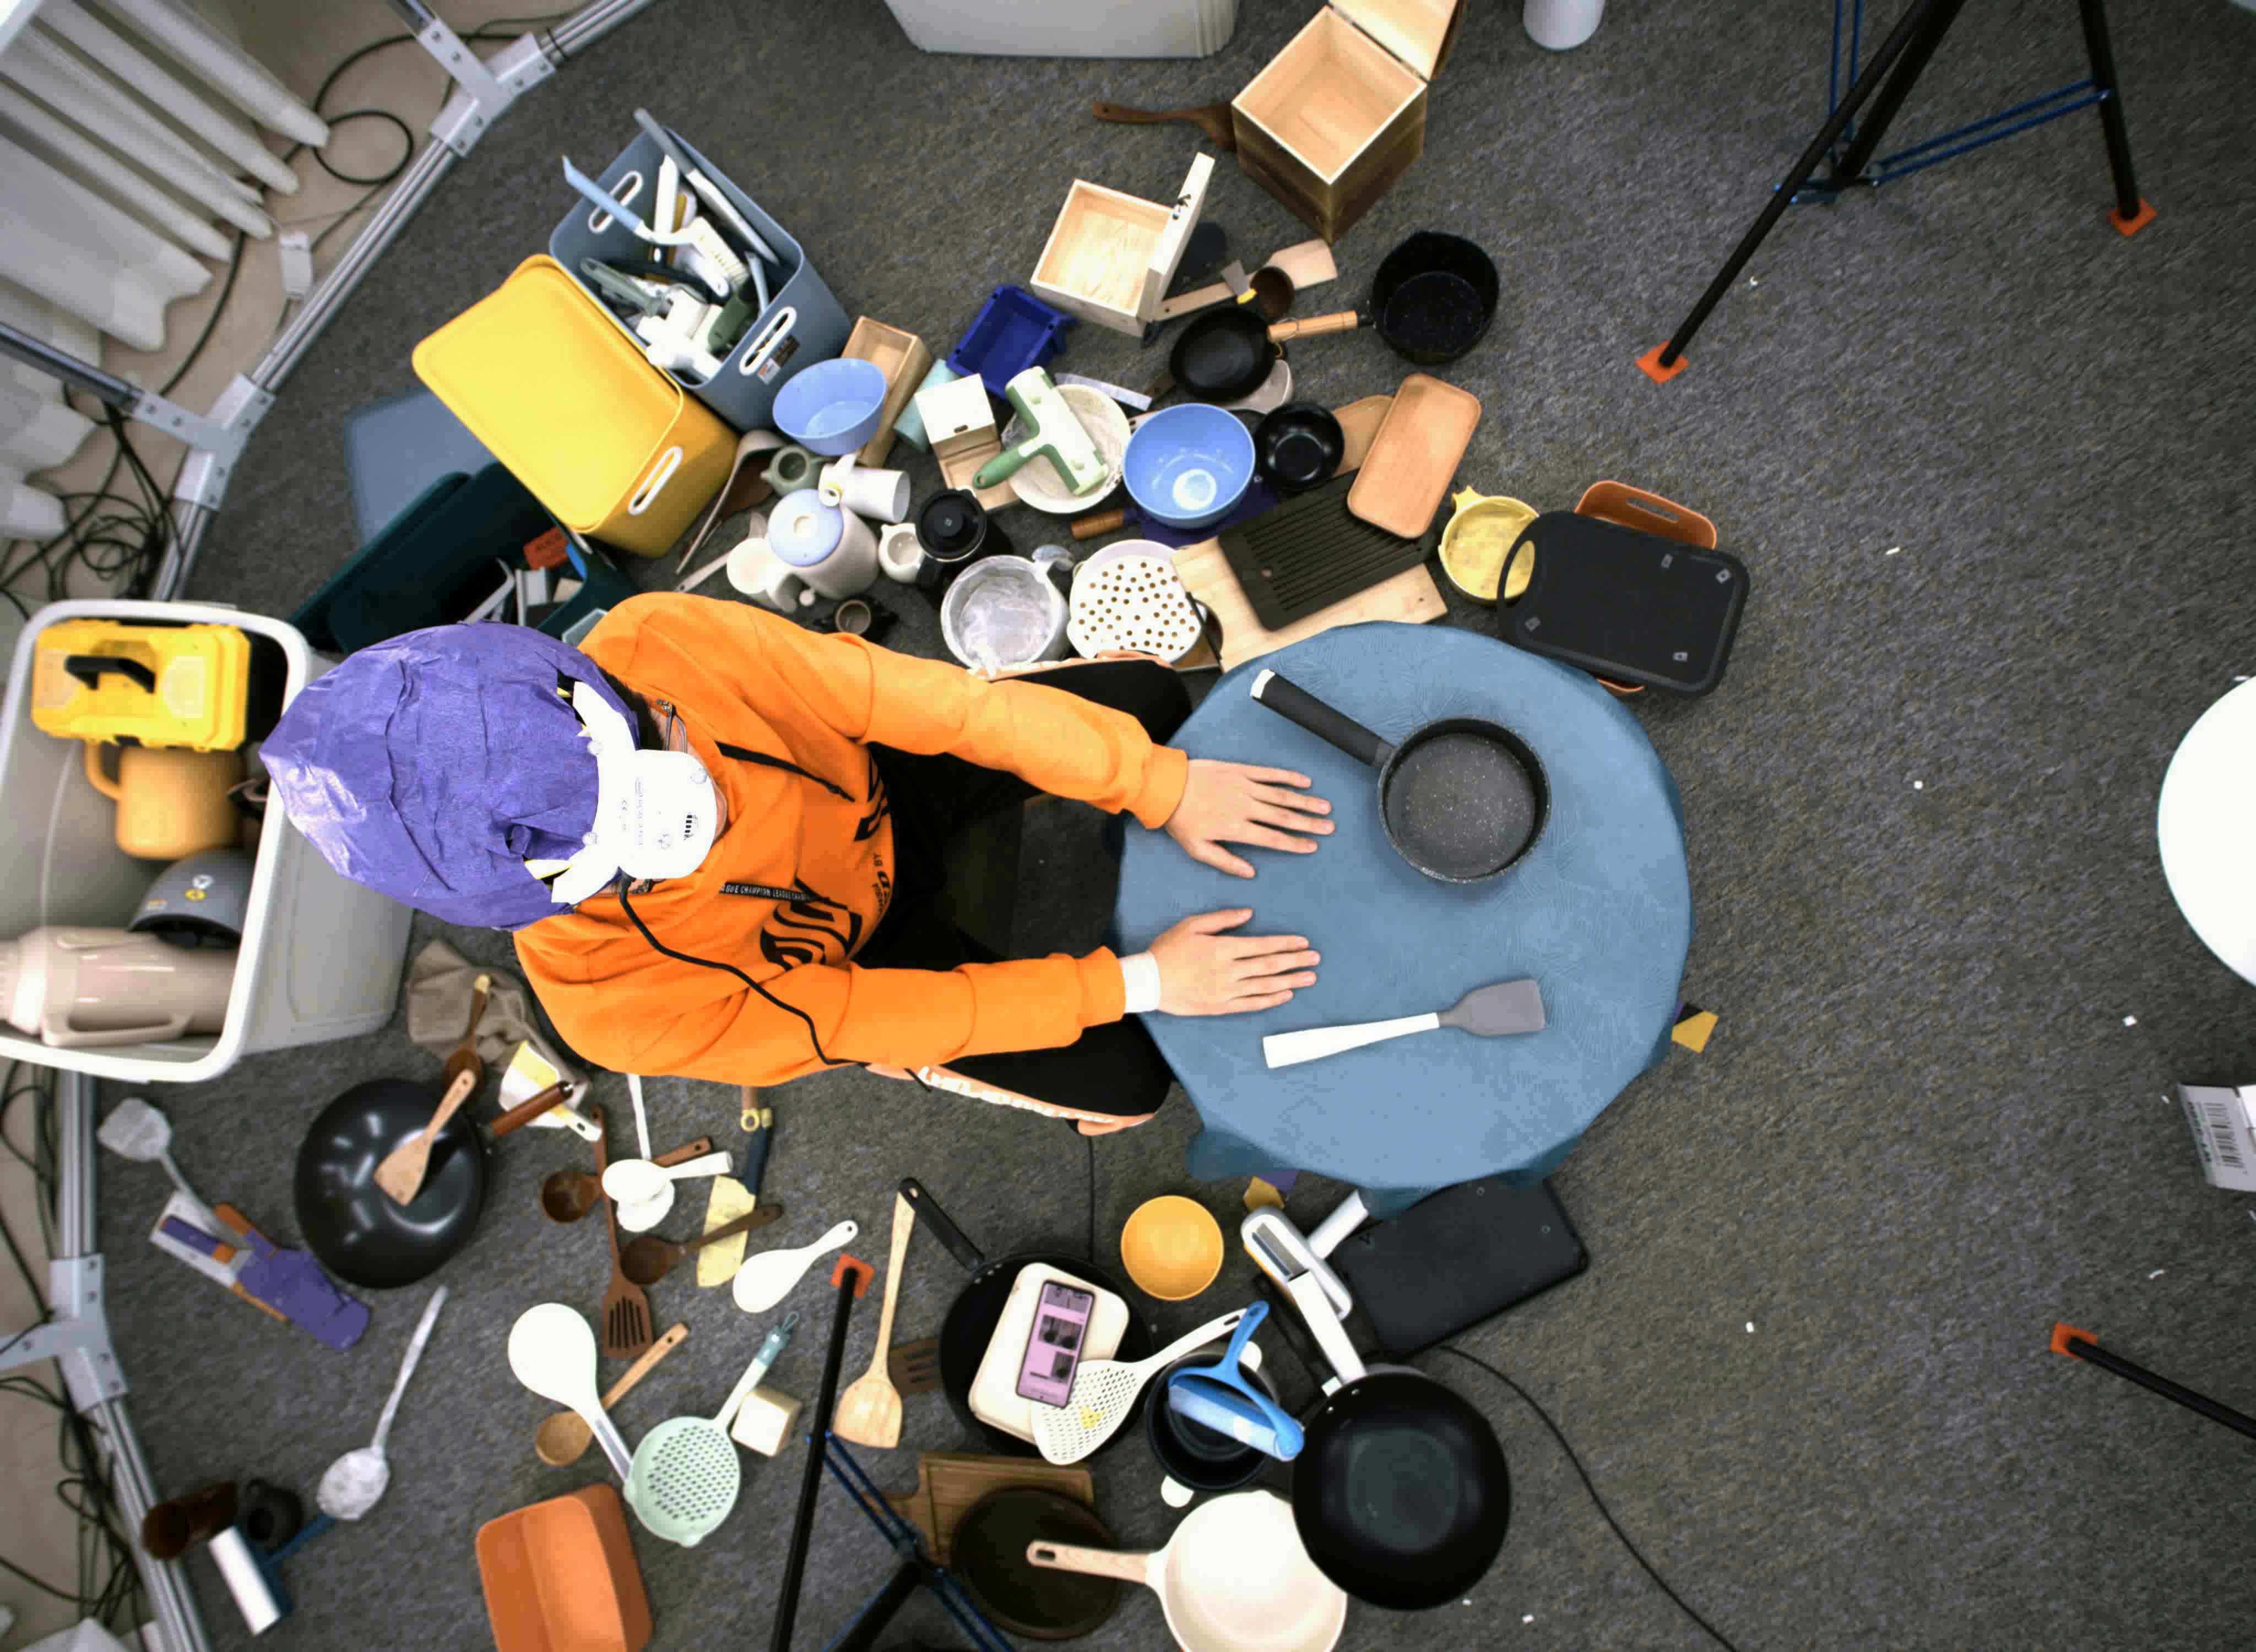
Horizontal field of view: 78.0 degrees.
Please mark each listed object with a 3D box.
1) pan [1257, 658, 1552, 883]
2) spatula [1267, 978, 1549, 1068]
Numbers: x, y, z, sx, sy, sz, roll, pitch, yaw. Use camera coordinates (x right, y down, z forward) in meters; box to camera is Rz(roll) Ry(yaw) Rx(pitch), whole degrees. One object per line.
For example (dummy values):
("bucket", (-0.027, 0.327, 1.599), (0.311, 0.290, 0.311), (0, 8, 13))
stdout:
("pan", (0.277, -0.069, 1.423), (0.328, 0.086, 0.172), (33, 92, 9))
("spatula", (0.288, 0.208, 1.433), (0.289, 0.032, 0.058), (-12, 81, 10))
